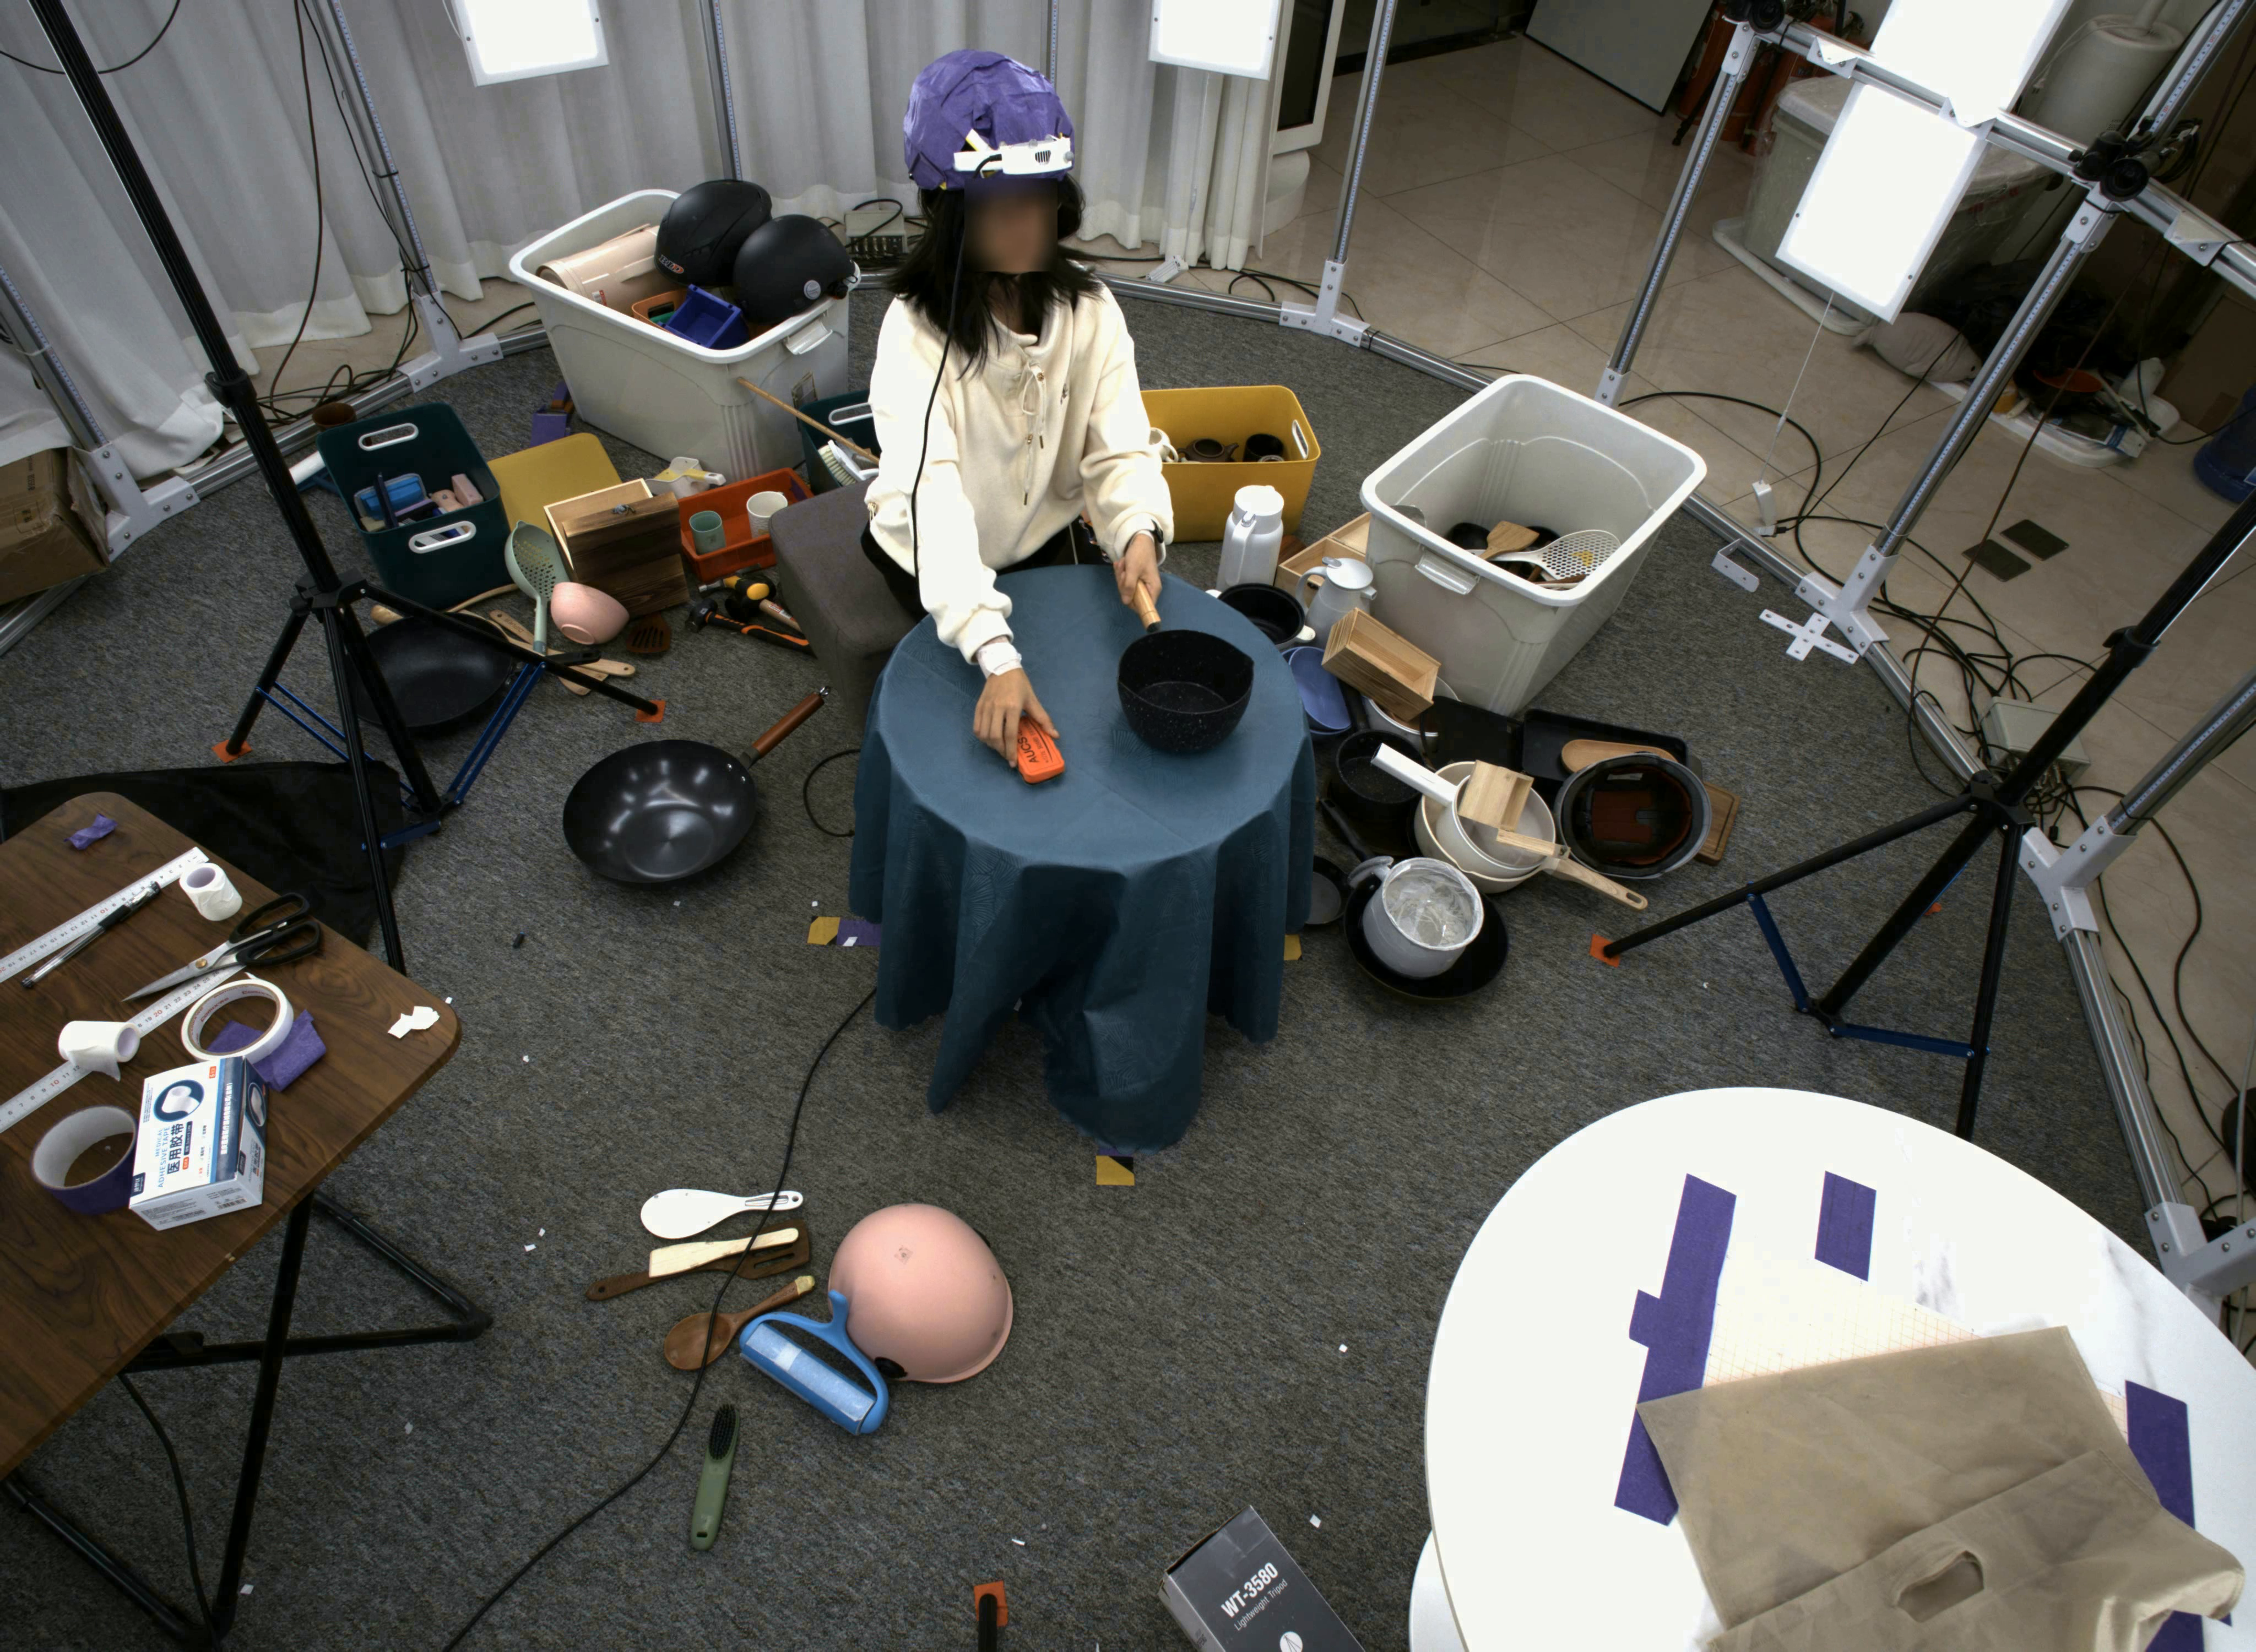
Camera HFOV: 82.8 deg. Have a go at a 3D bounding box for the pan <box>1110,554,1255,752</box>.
[{"bbox_3d":[0.048,-0.246,1.816,0.207,0.105,0.351,-13,48,-16],"label":"pan"}]

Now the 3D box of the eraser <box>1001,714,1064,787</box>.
[{"bbox_3d":[-0.130,-0.104,1.736,0.059,0.022,0.110,-17,52,-16],"label":"eraser"}]
